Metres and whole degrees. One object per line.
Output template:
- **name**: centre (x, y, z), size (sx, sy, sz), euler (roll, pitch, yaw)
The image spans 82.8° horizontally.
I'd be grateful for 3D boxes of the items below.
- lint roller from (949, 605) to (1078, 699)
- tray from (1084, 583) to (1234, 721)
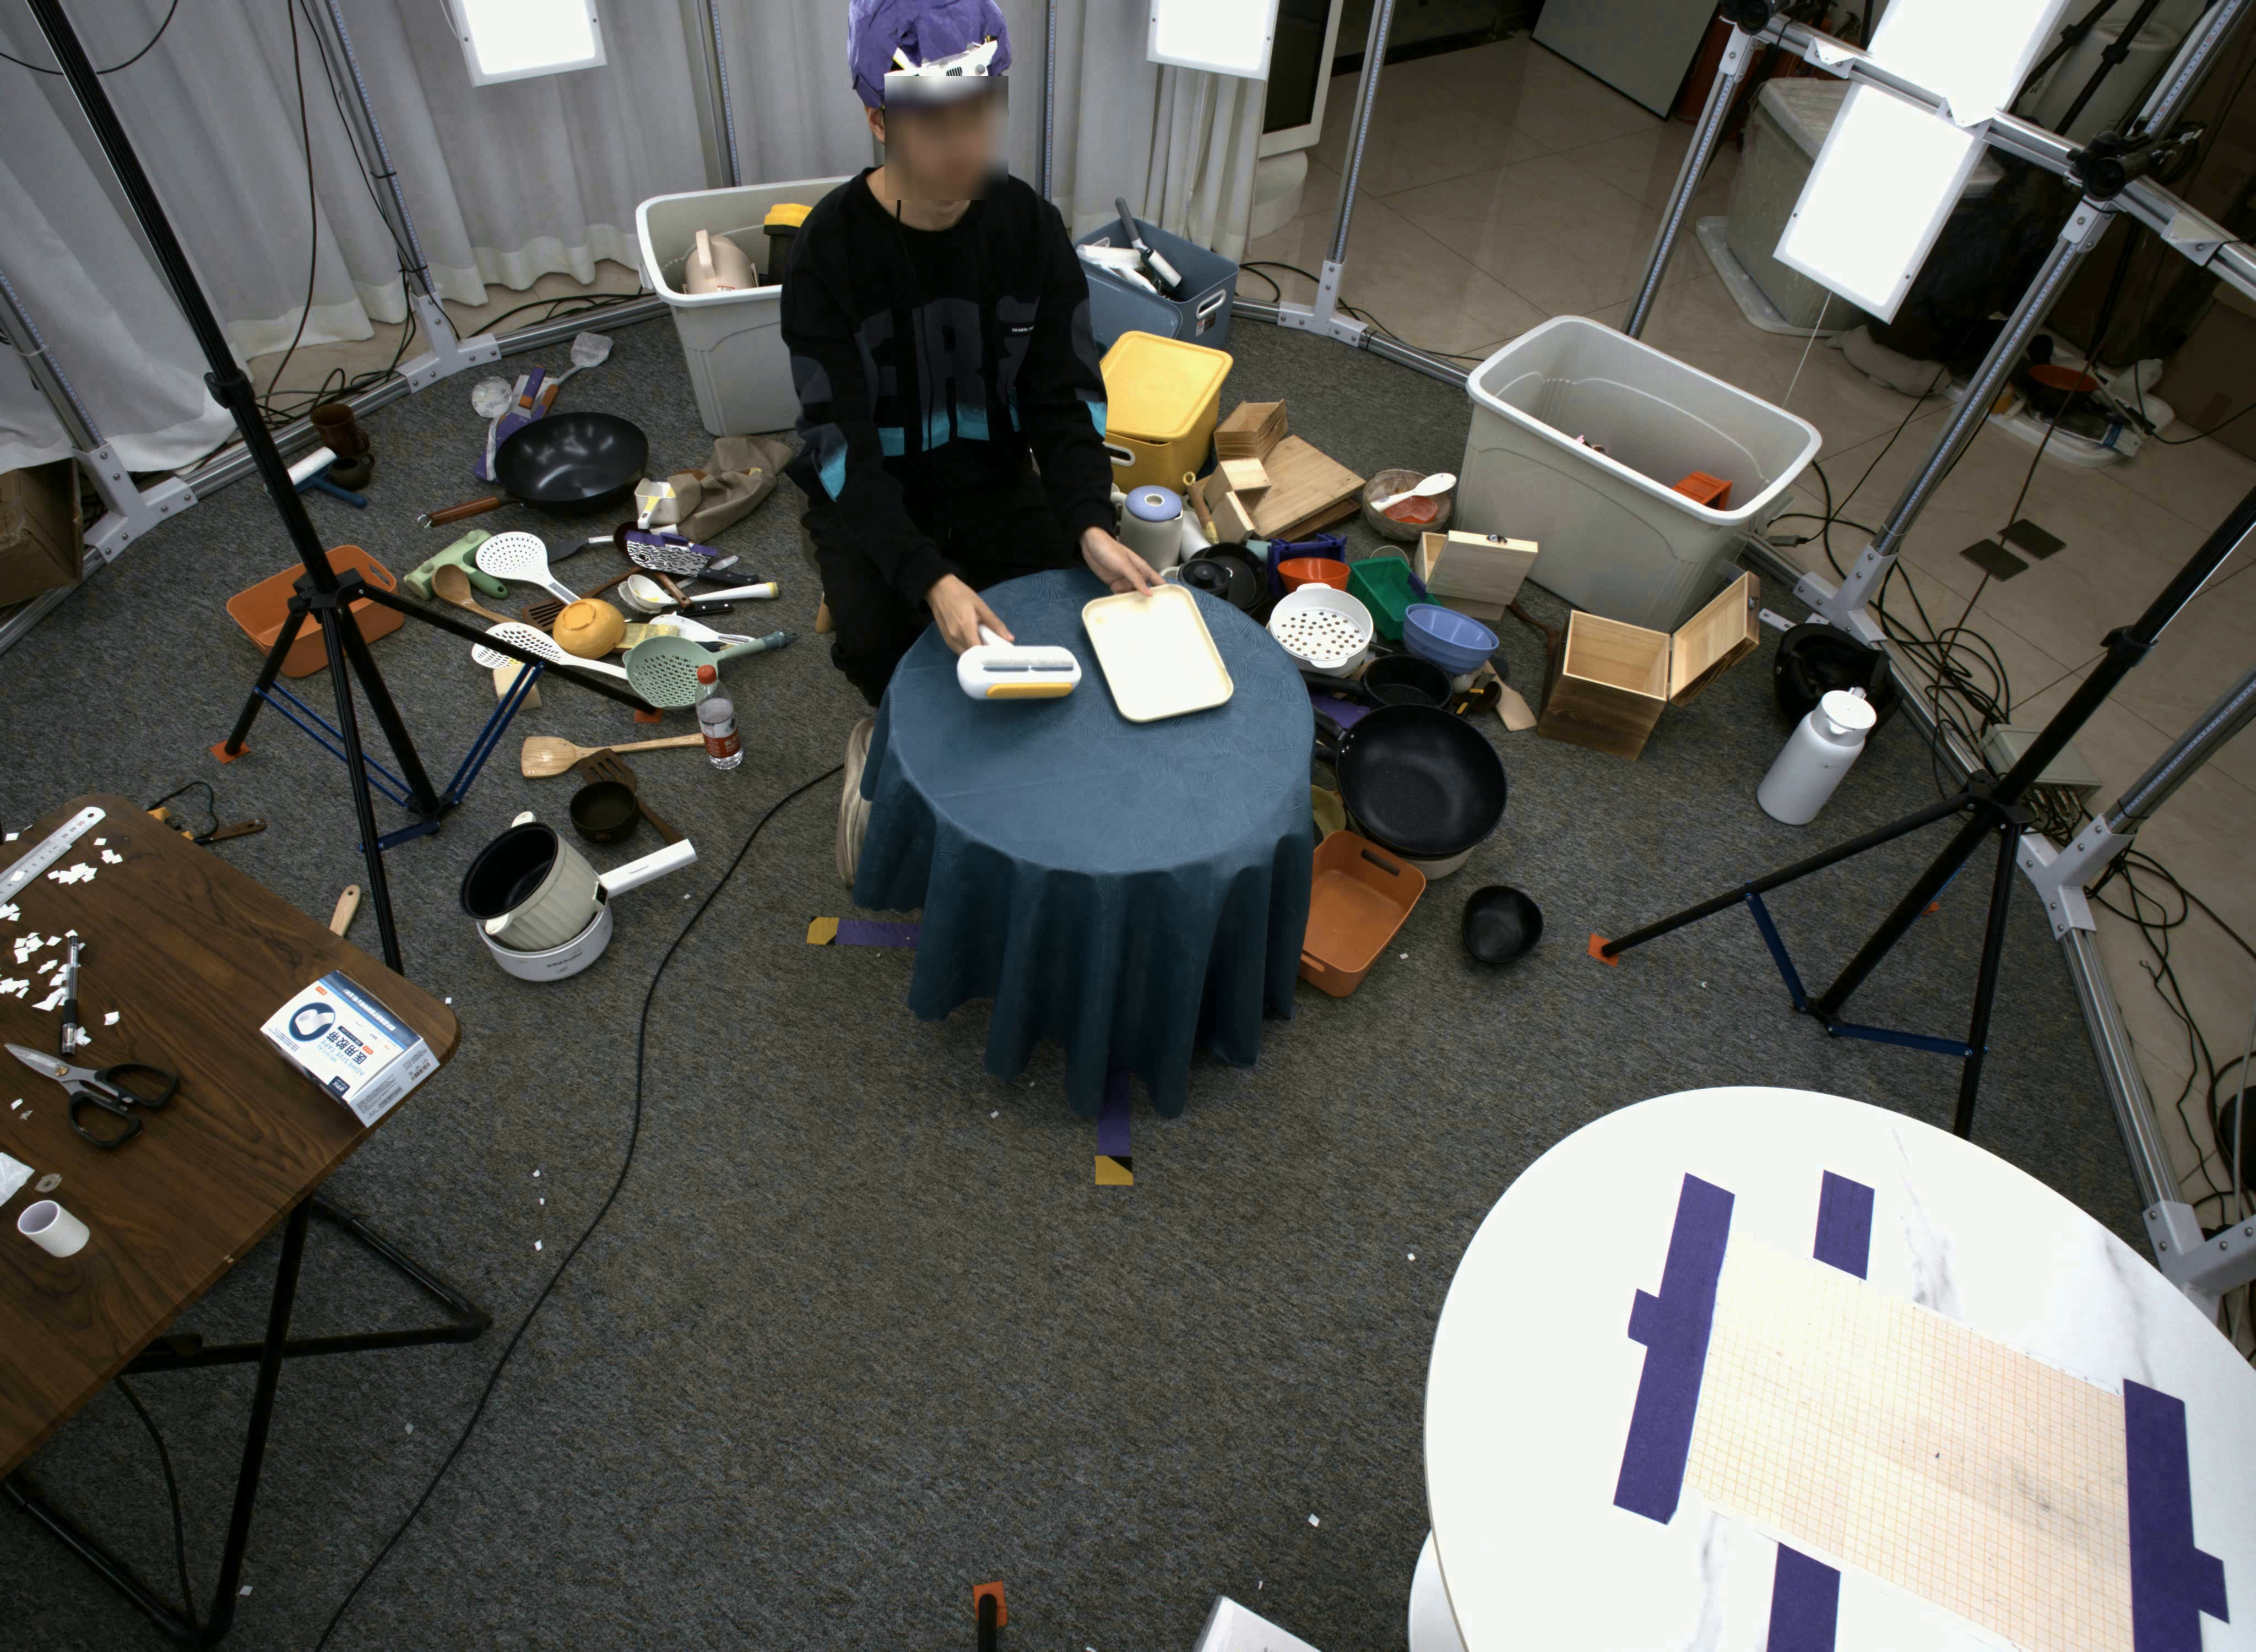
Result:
- **lint roller**: centre (-0.183, -0.253, 1.792), size (0.192, 0.073, 0.196), euler (-6, 53, -37)
- **tray**: centre (0.042, -0.254, 1.866), size (0.171, 0.017, 0.245), euler (-13, 56, -10)
